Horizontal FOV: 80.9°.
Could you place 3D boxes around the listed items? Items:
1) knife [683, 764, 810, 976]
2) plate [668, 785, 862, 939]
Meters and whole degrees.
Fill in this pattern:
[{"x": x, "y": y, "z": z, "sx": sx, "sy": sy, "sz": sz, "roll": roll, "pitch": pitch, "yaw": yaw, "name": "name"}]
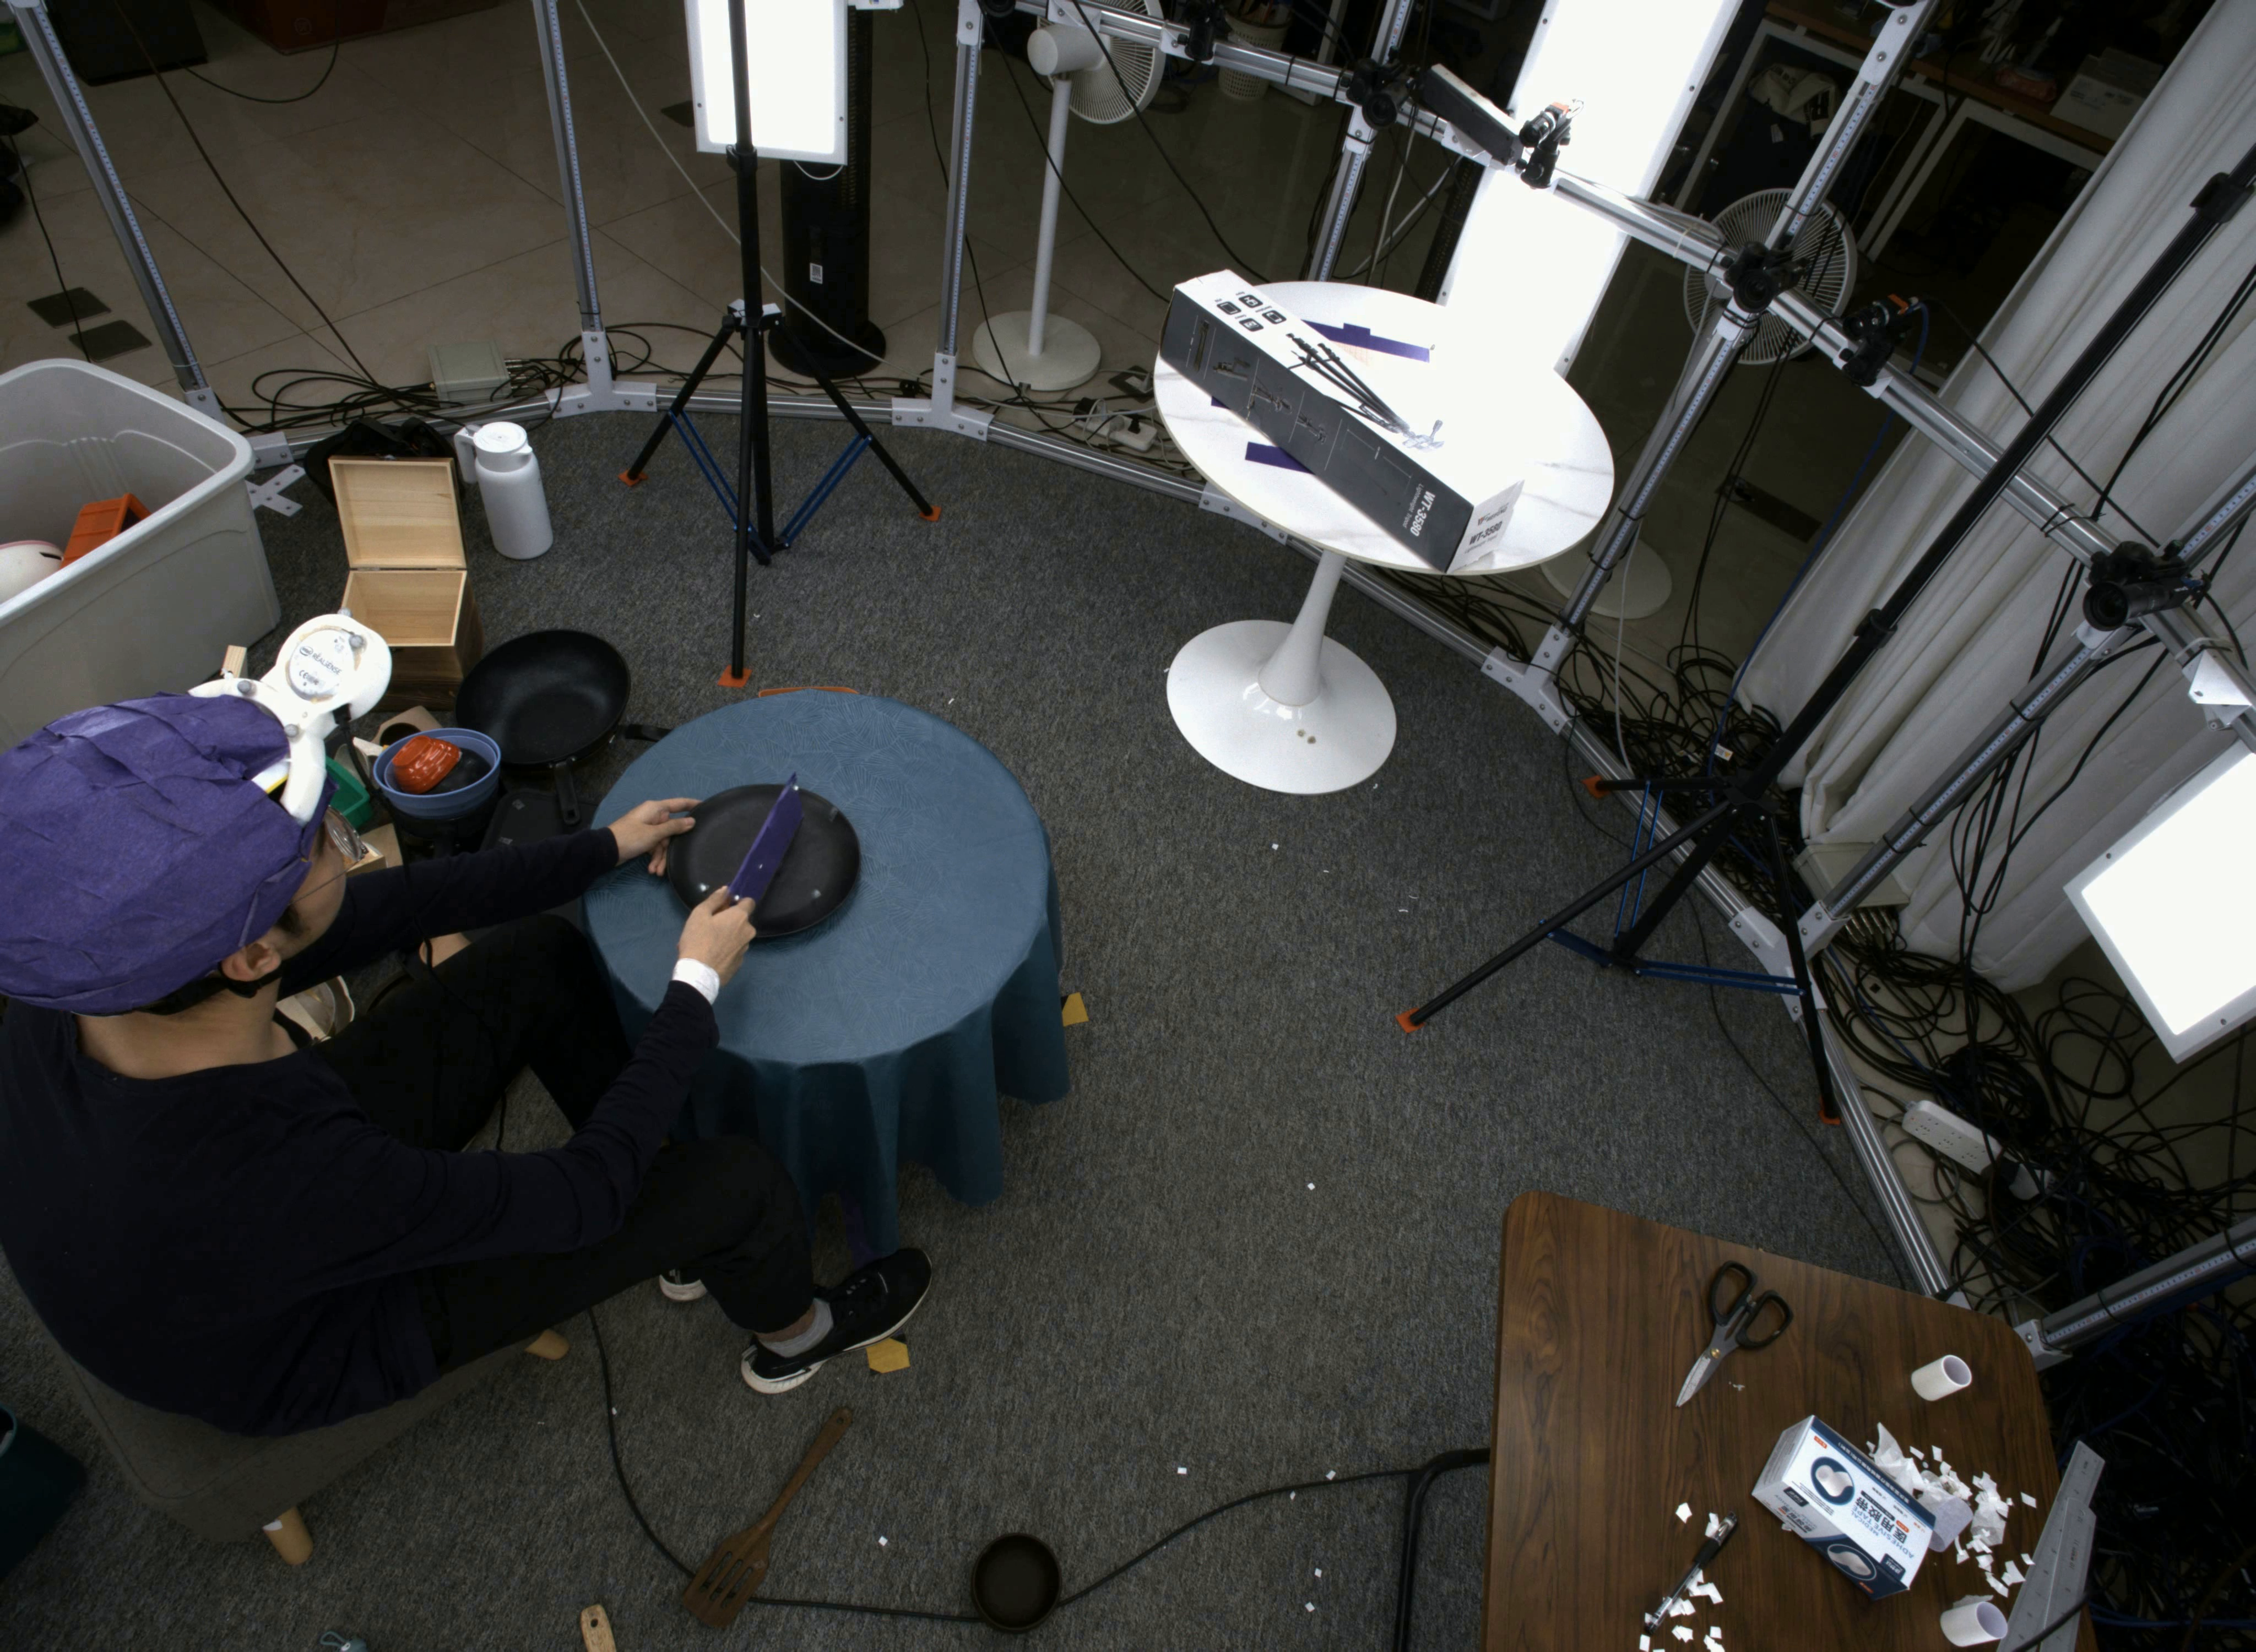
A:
[{"x": -0.458, "y": 0.066, "z": 1.592, "sx": 0.031, "sy": 0.107, "sz": 0.312, "roll": 13, "pitch": 51, "yaw": 8, "name": "knife"}, {"x": -0.467, "y": 0.047, "z": 1.673, "sx": 0.244, "sy": 0.024, "sz": 0.240, "roll": 8, "pitch": 53, "yaw": -9, "name": "plate"}]
